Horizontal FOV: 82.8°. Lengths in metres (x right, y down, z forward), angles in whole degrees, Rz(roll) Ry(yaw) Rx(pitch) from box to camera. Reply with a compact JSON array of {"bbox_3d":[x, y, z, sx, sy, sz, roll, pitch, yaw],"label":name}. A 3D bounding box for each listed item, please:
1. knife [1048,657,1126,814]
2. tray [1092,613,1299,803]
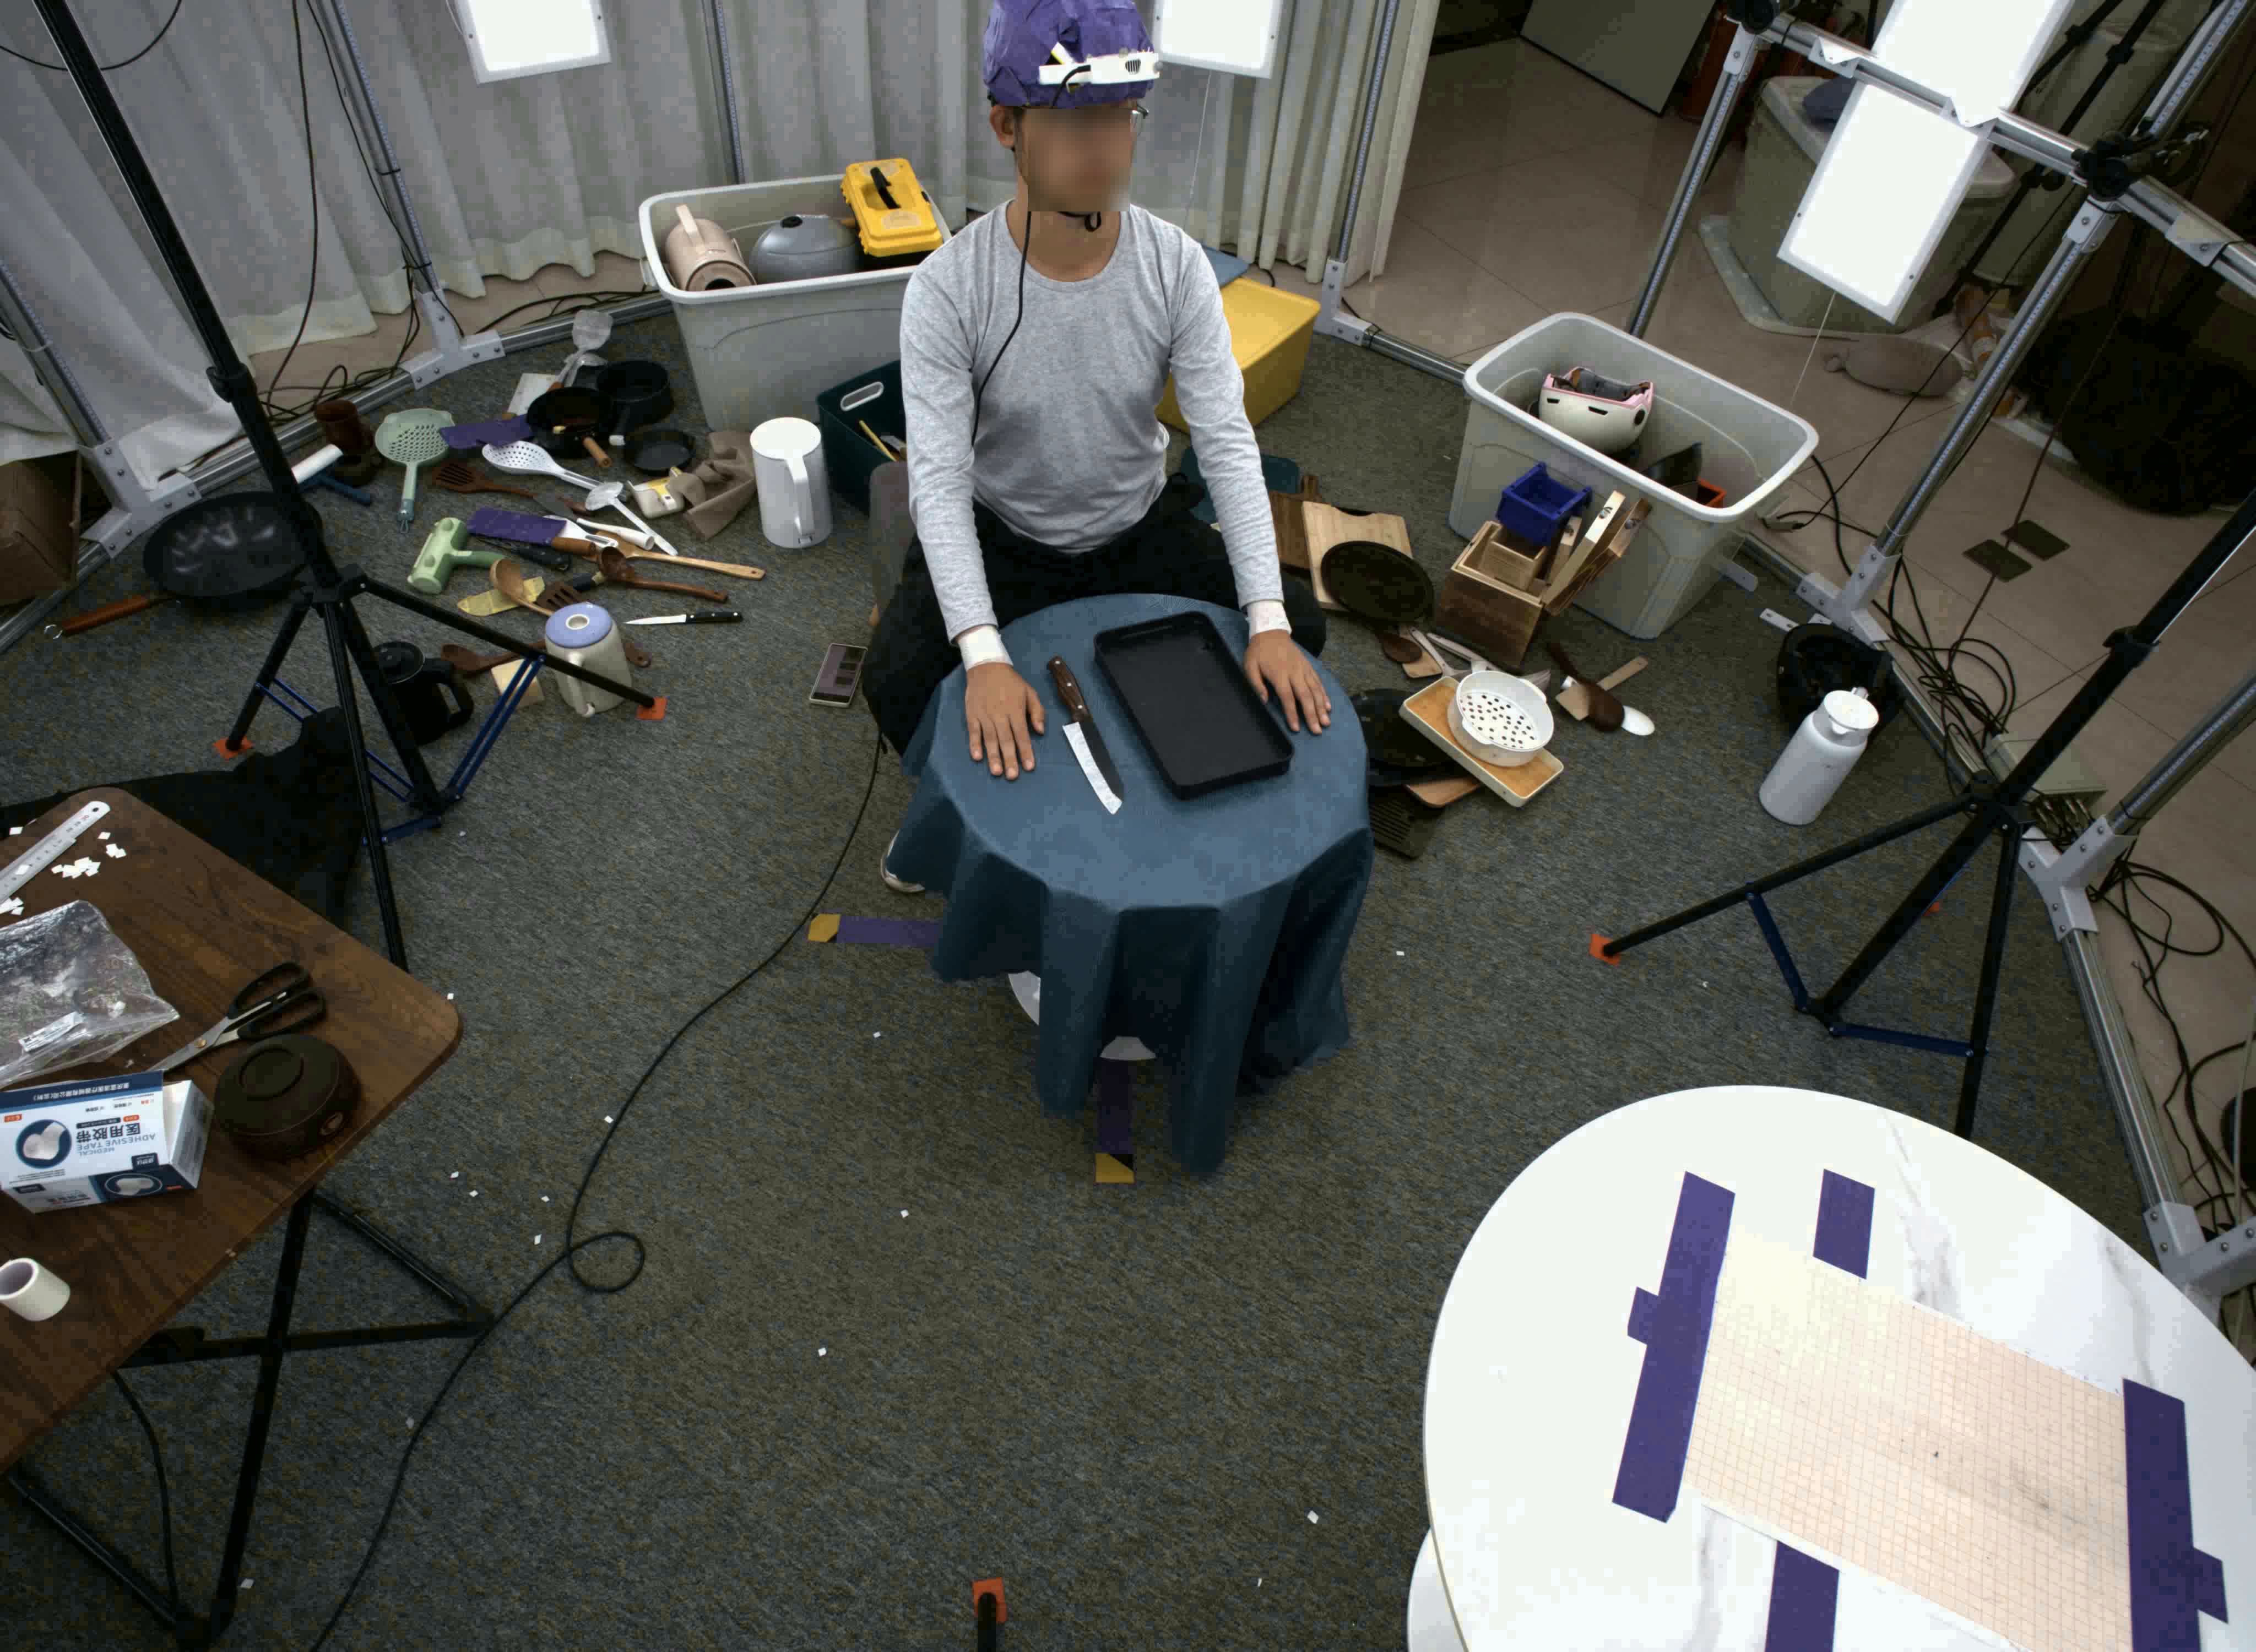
[{"bbox_3d":[-0.060,-0.127,1.764,0.050,0.019,0.296,-15,54,-10],"label":"knife"},{"bbox_3d":[0.089,-0.172,1.800,0.184,0.036,0.325,-17,52,-18],"label":"tray"}]
